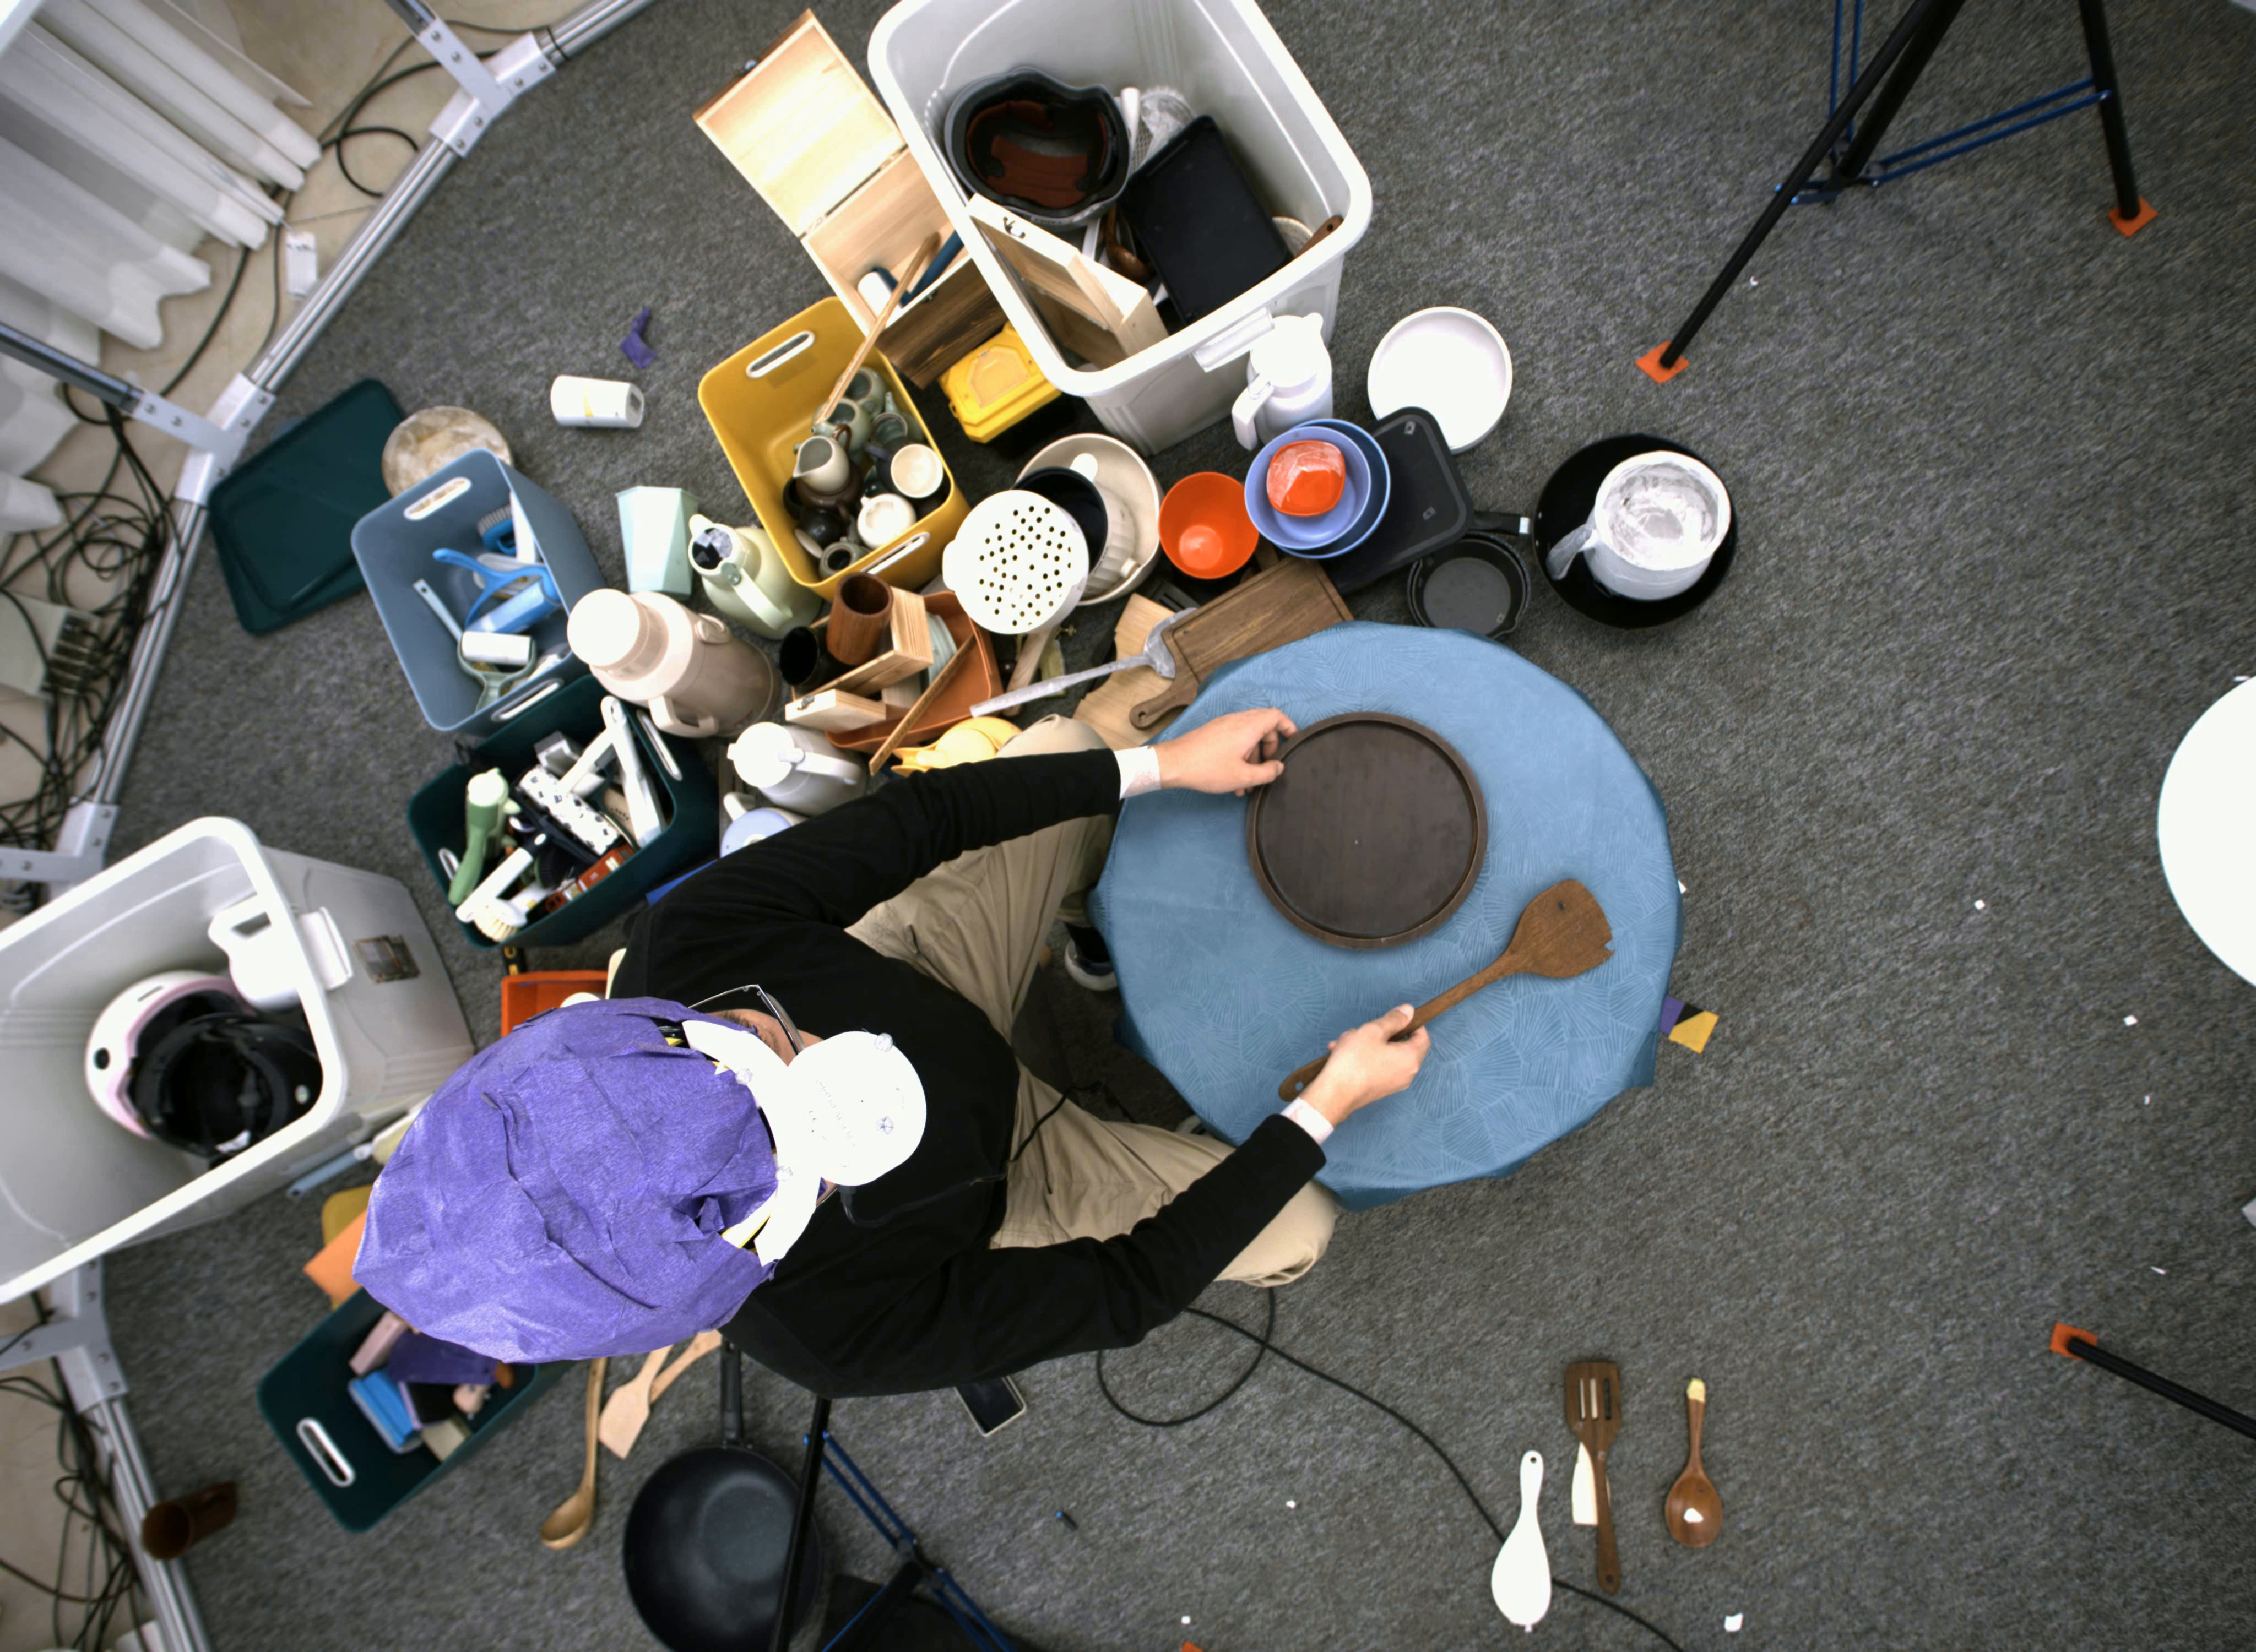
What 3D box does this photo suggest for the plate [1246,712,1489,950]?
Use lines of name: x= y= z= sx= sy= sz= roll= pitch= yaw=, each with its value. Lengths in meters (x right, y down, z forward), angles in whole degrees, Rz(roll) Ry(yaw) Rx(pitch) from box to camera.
plate: x=0.251 y=0.003 z=1.455 sx=0.256 sy=0.029 sz=0.254 roll=-1 pitch=88 yaw=10

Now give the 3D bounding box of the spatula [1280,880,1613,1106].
spatula: x=0.321 y=0.179 z=1.399 sx=0.385 sy=0.016 sz=0.096 roll=-29 pitch=92 yaw=-5
